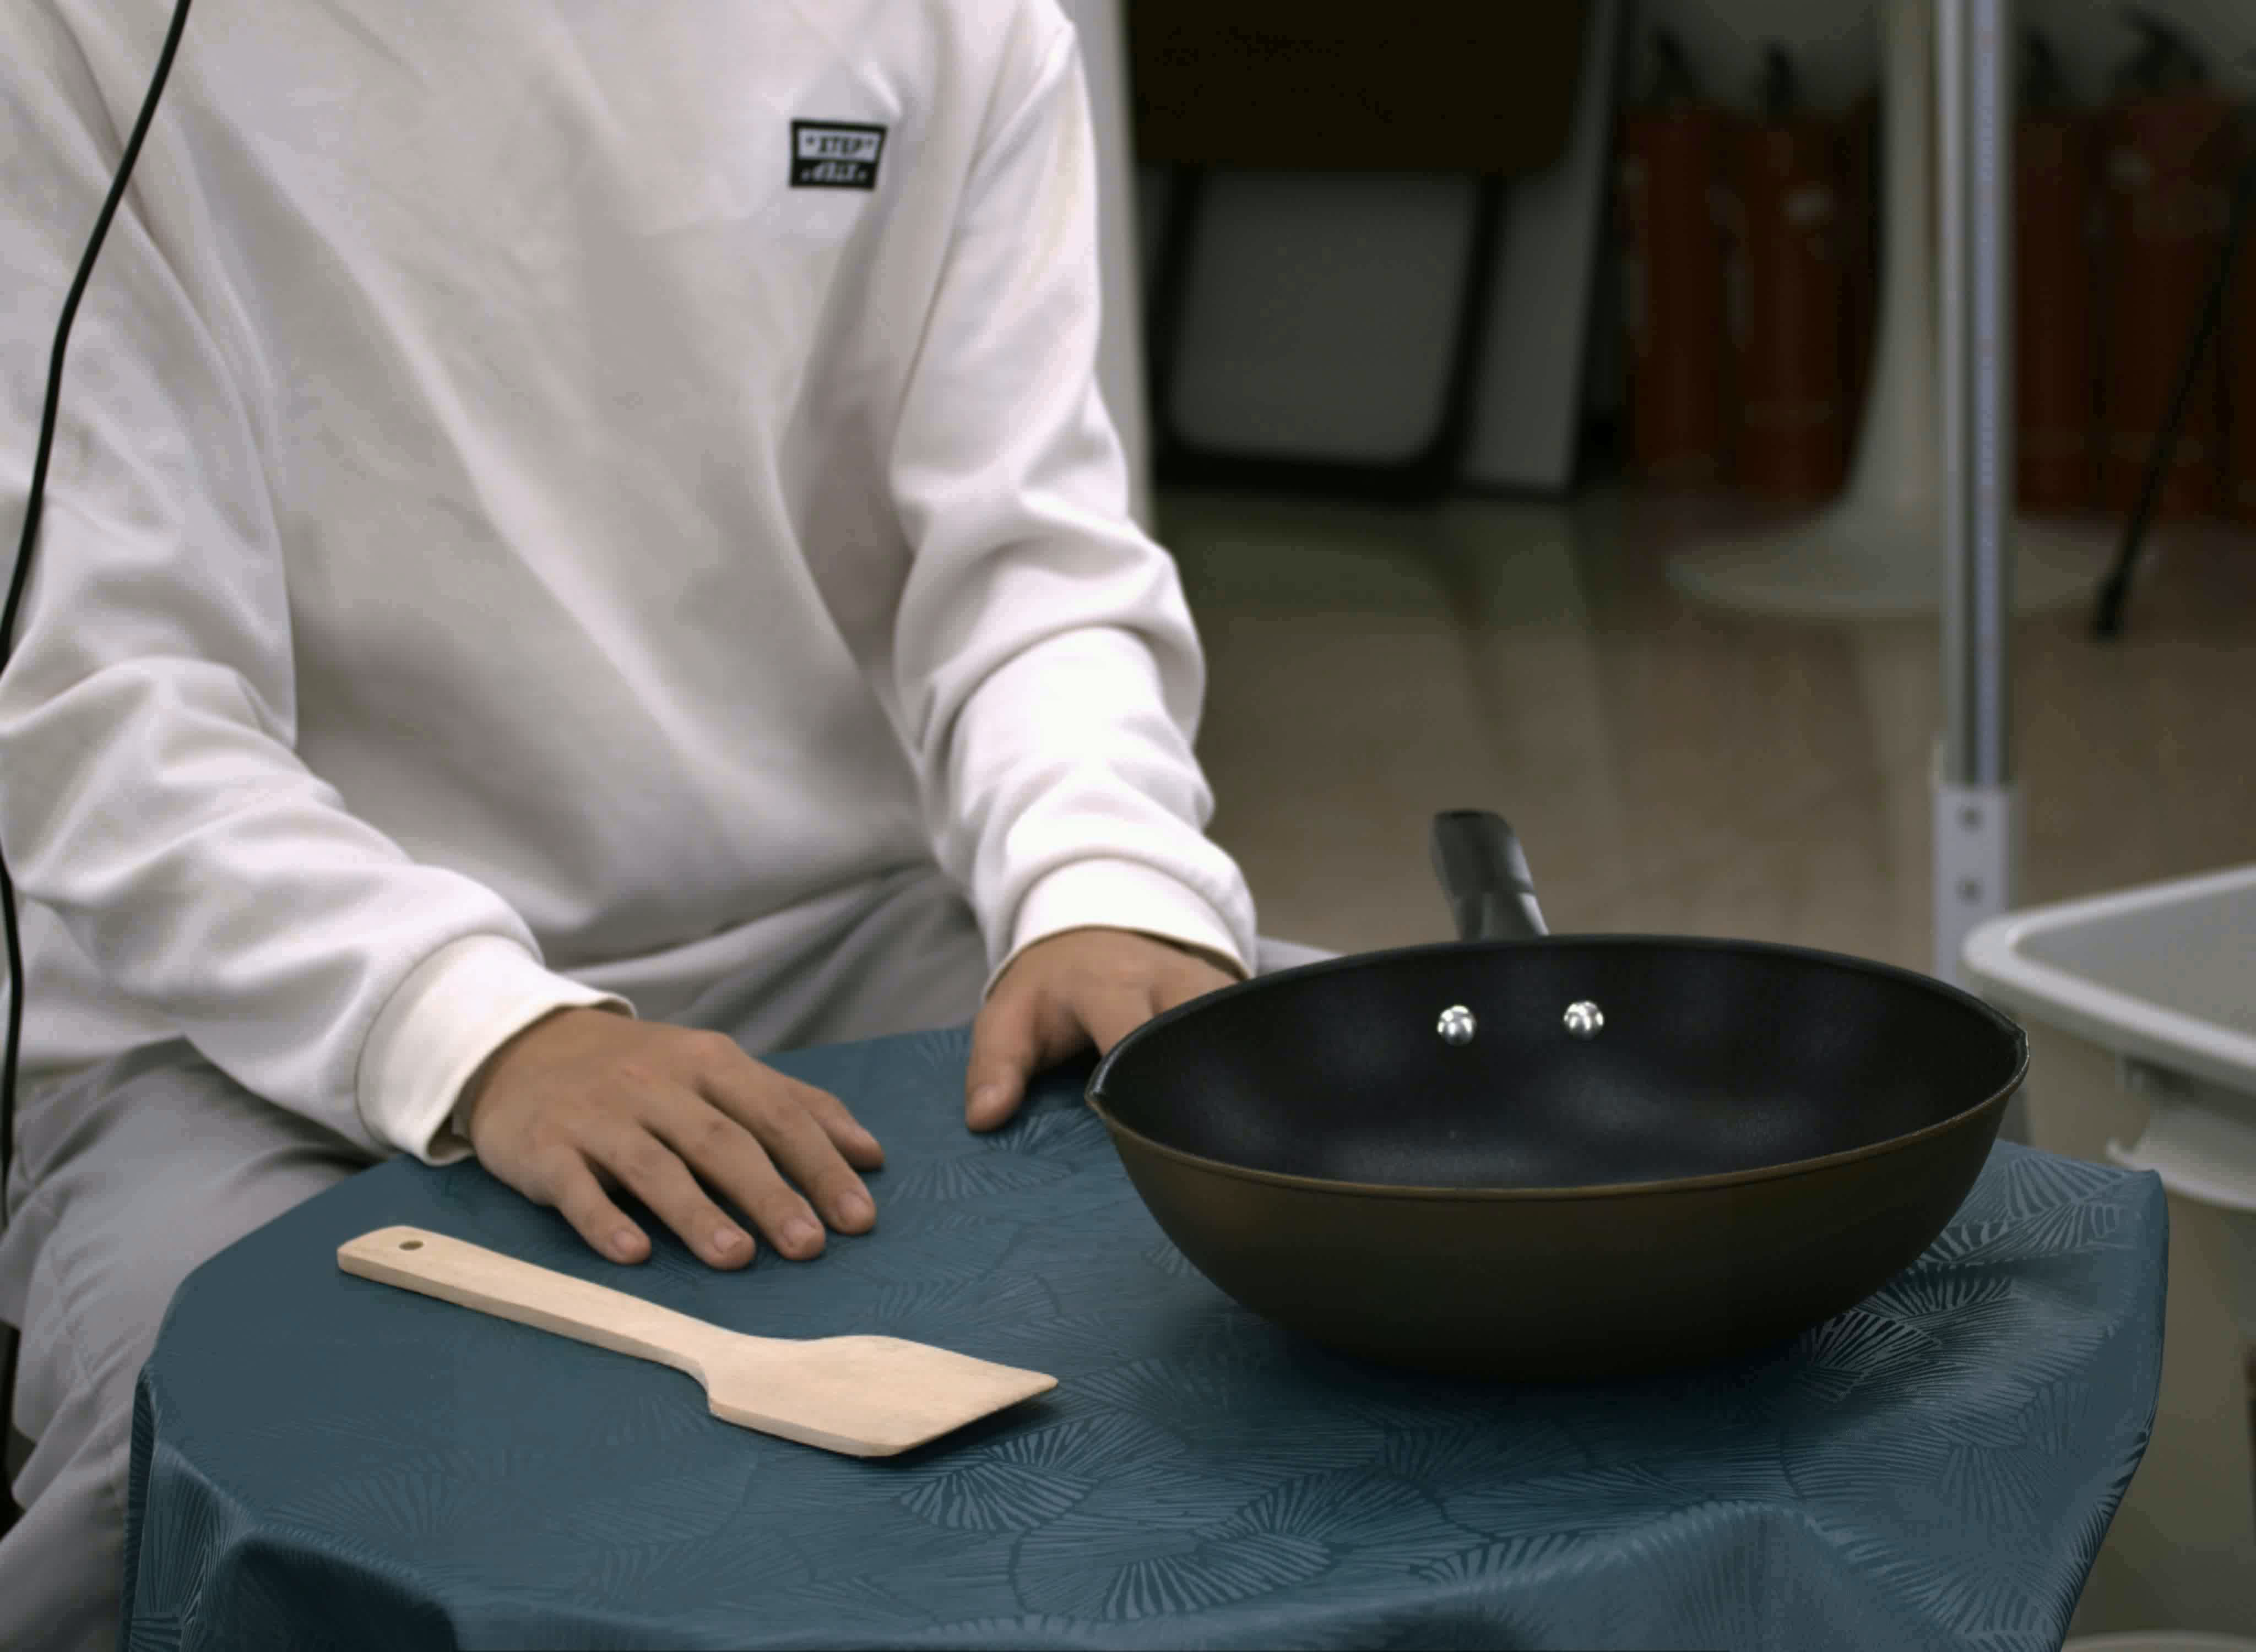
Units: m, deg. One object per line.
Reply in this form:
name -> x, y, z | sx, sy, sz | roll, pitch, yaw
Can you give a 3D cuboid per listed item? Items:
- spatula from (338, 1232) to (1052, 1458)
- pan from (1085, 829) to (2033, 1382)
spatula -> -0.147, 0.156, 1.656 | 0.071, 0.011, 0.296 | -18, 19, -42
pan -> 0.129, 0.086, 1.712 | 0.284, 0.088, 0.464 | -3, 12, 0
